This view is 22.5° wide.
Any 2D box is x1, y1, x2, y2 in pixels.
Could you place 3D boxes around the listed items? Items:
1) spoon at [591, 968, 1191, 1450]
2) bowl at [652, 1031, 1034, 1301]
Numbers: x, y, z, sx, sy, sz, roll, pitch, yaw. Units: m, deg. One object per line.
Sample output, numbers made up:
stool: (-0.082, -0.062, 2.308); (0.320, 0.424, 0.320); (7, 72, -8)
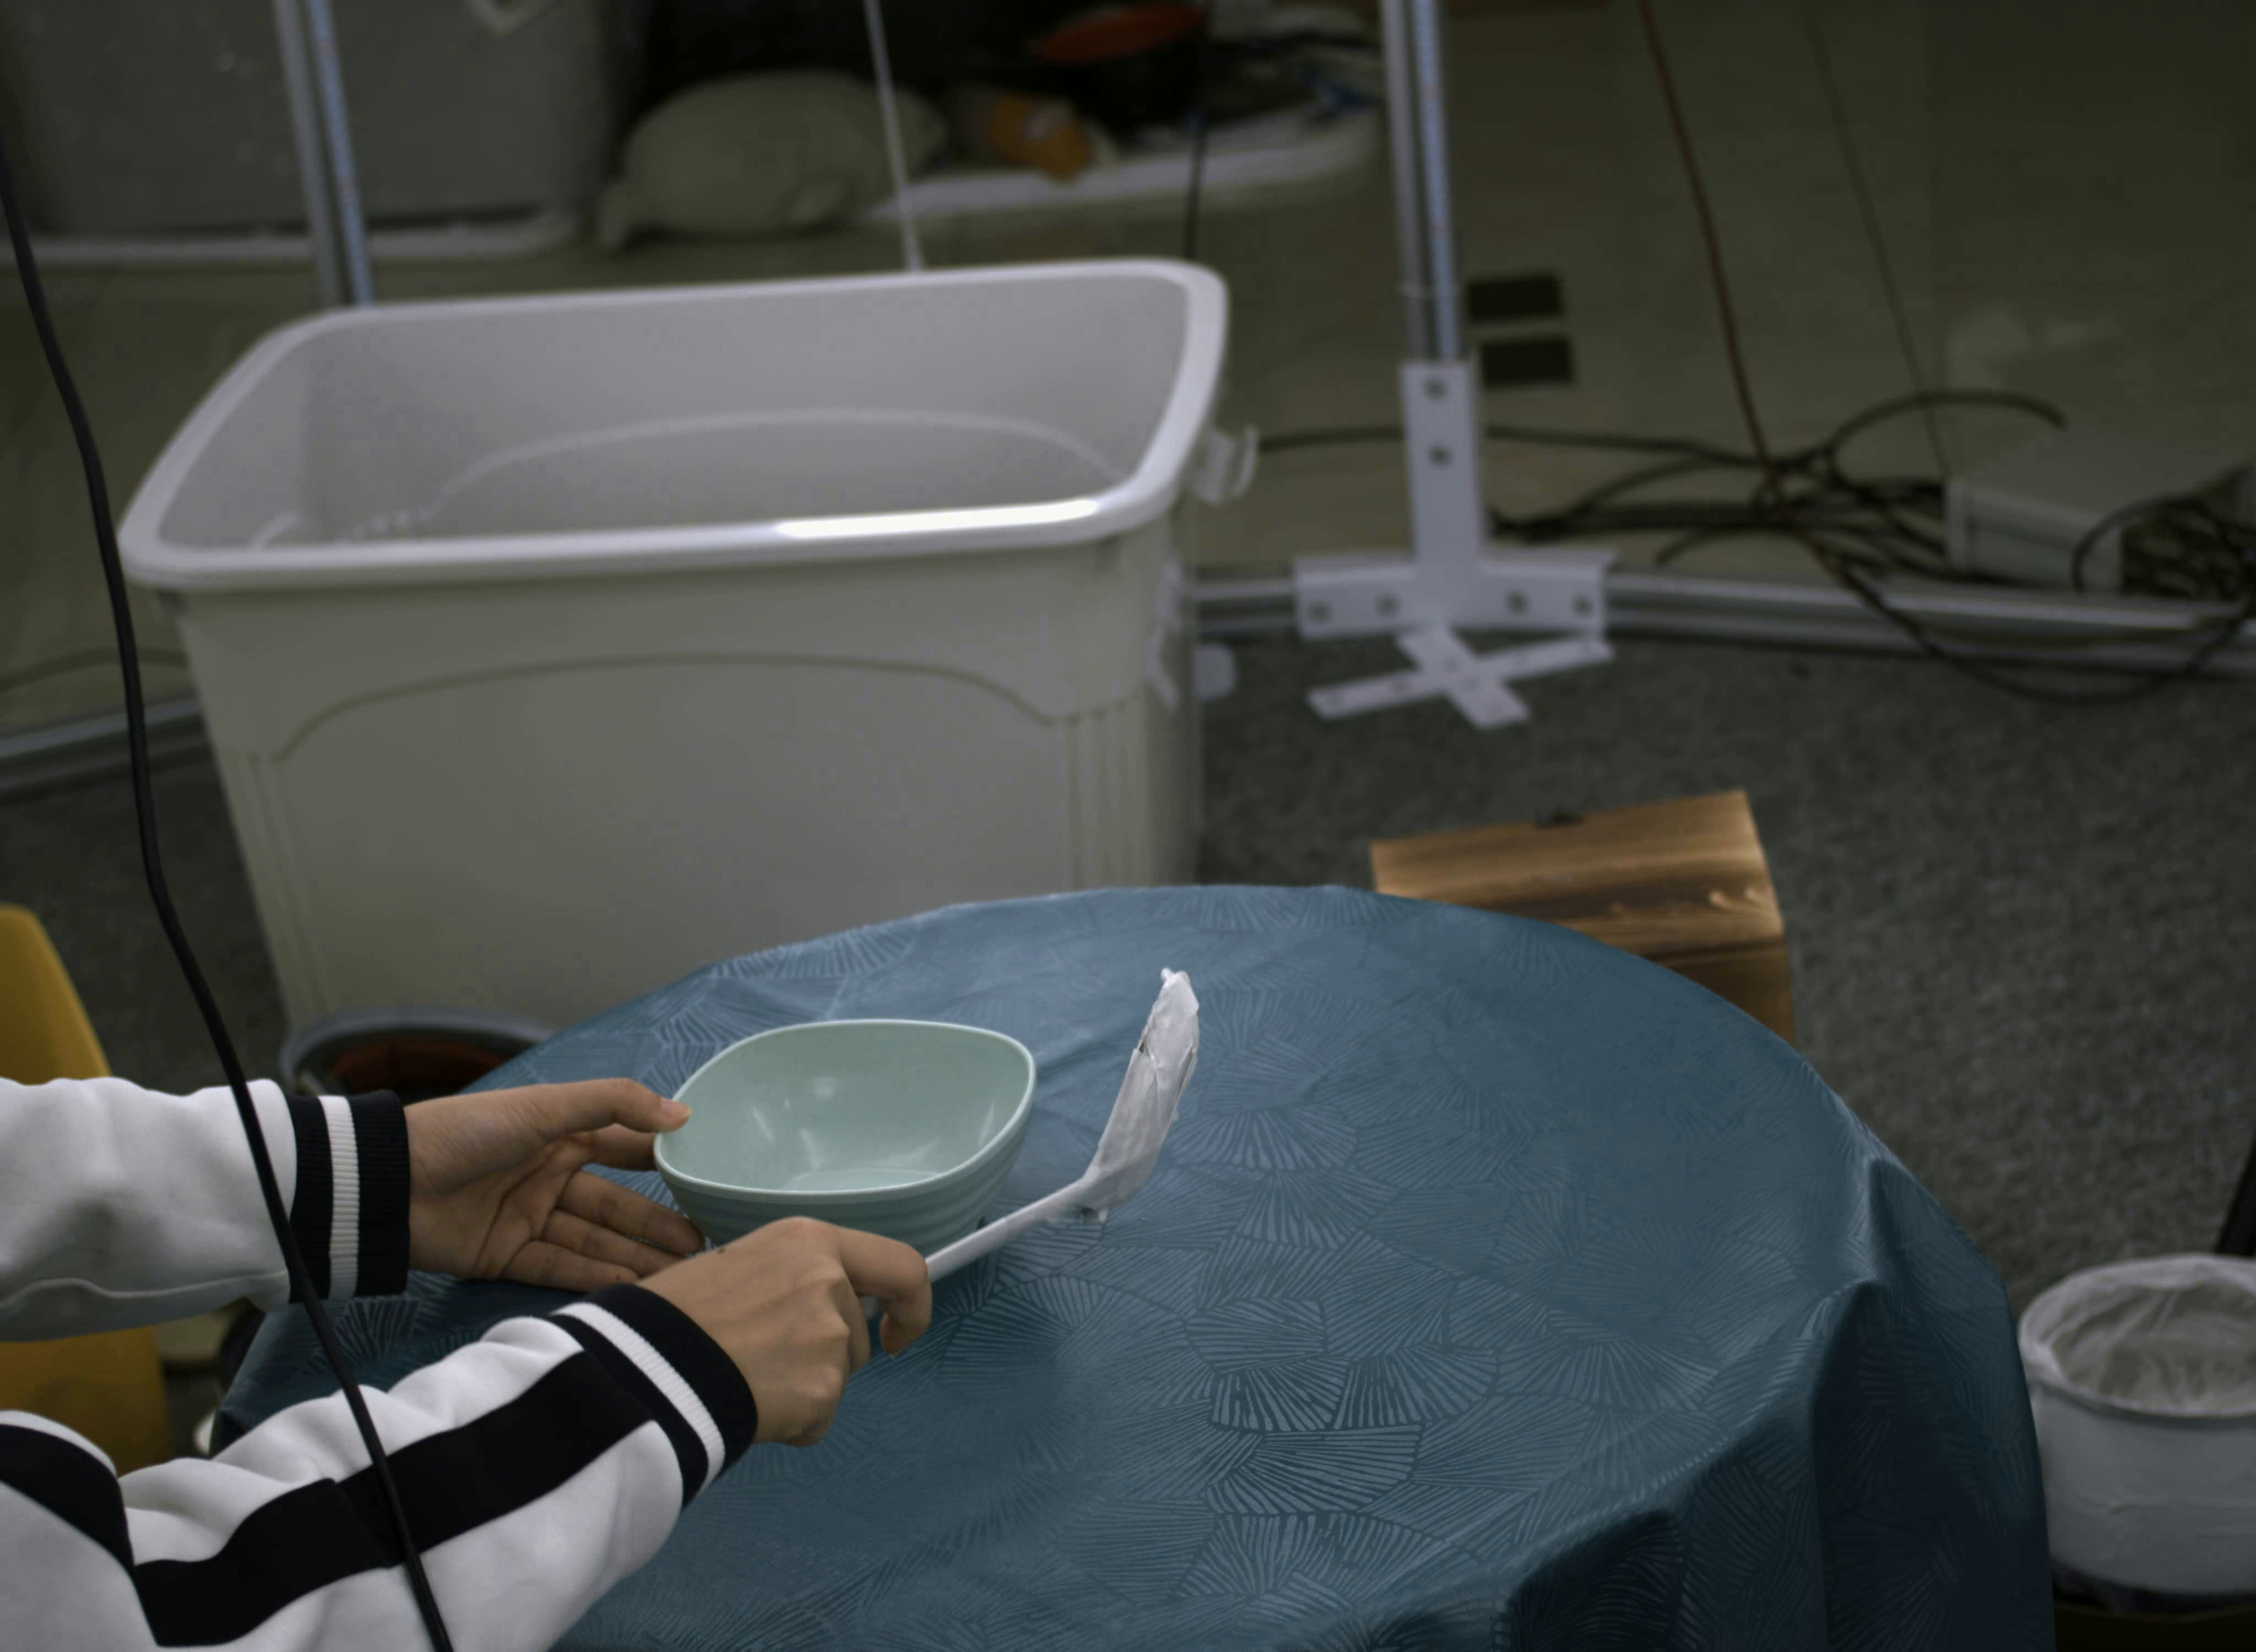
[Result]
spoon: (-0.080, 0.135, 1.929); (0.275, 0.102, 0.058); (-26, 55, -27)
bowl: (-0.103, 0.132, 2.125); (0.151, 0.059, 0.149); (-6, 25, 3)
